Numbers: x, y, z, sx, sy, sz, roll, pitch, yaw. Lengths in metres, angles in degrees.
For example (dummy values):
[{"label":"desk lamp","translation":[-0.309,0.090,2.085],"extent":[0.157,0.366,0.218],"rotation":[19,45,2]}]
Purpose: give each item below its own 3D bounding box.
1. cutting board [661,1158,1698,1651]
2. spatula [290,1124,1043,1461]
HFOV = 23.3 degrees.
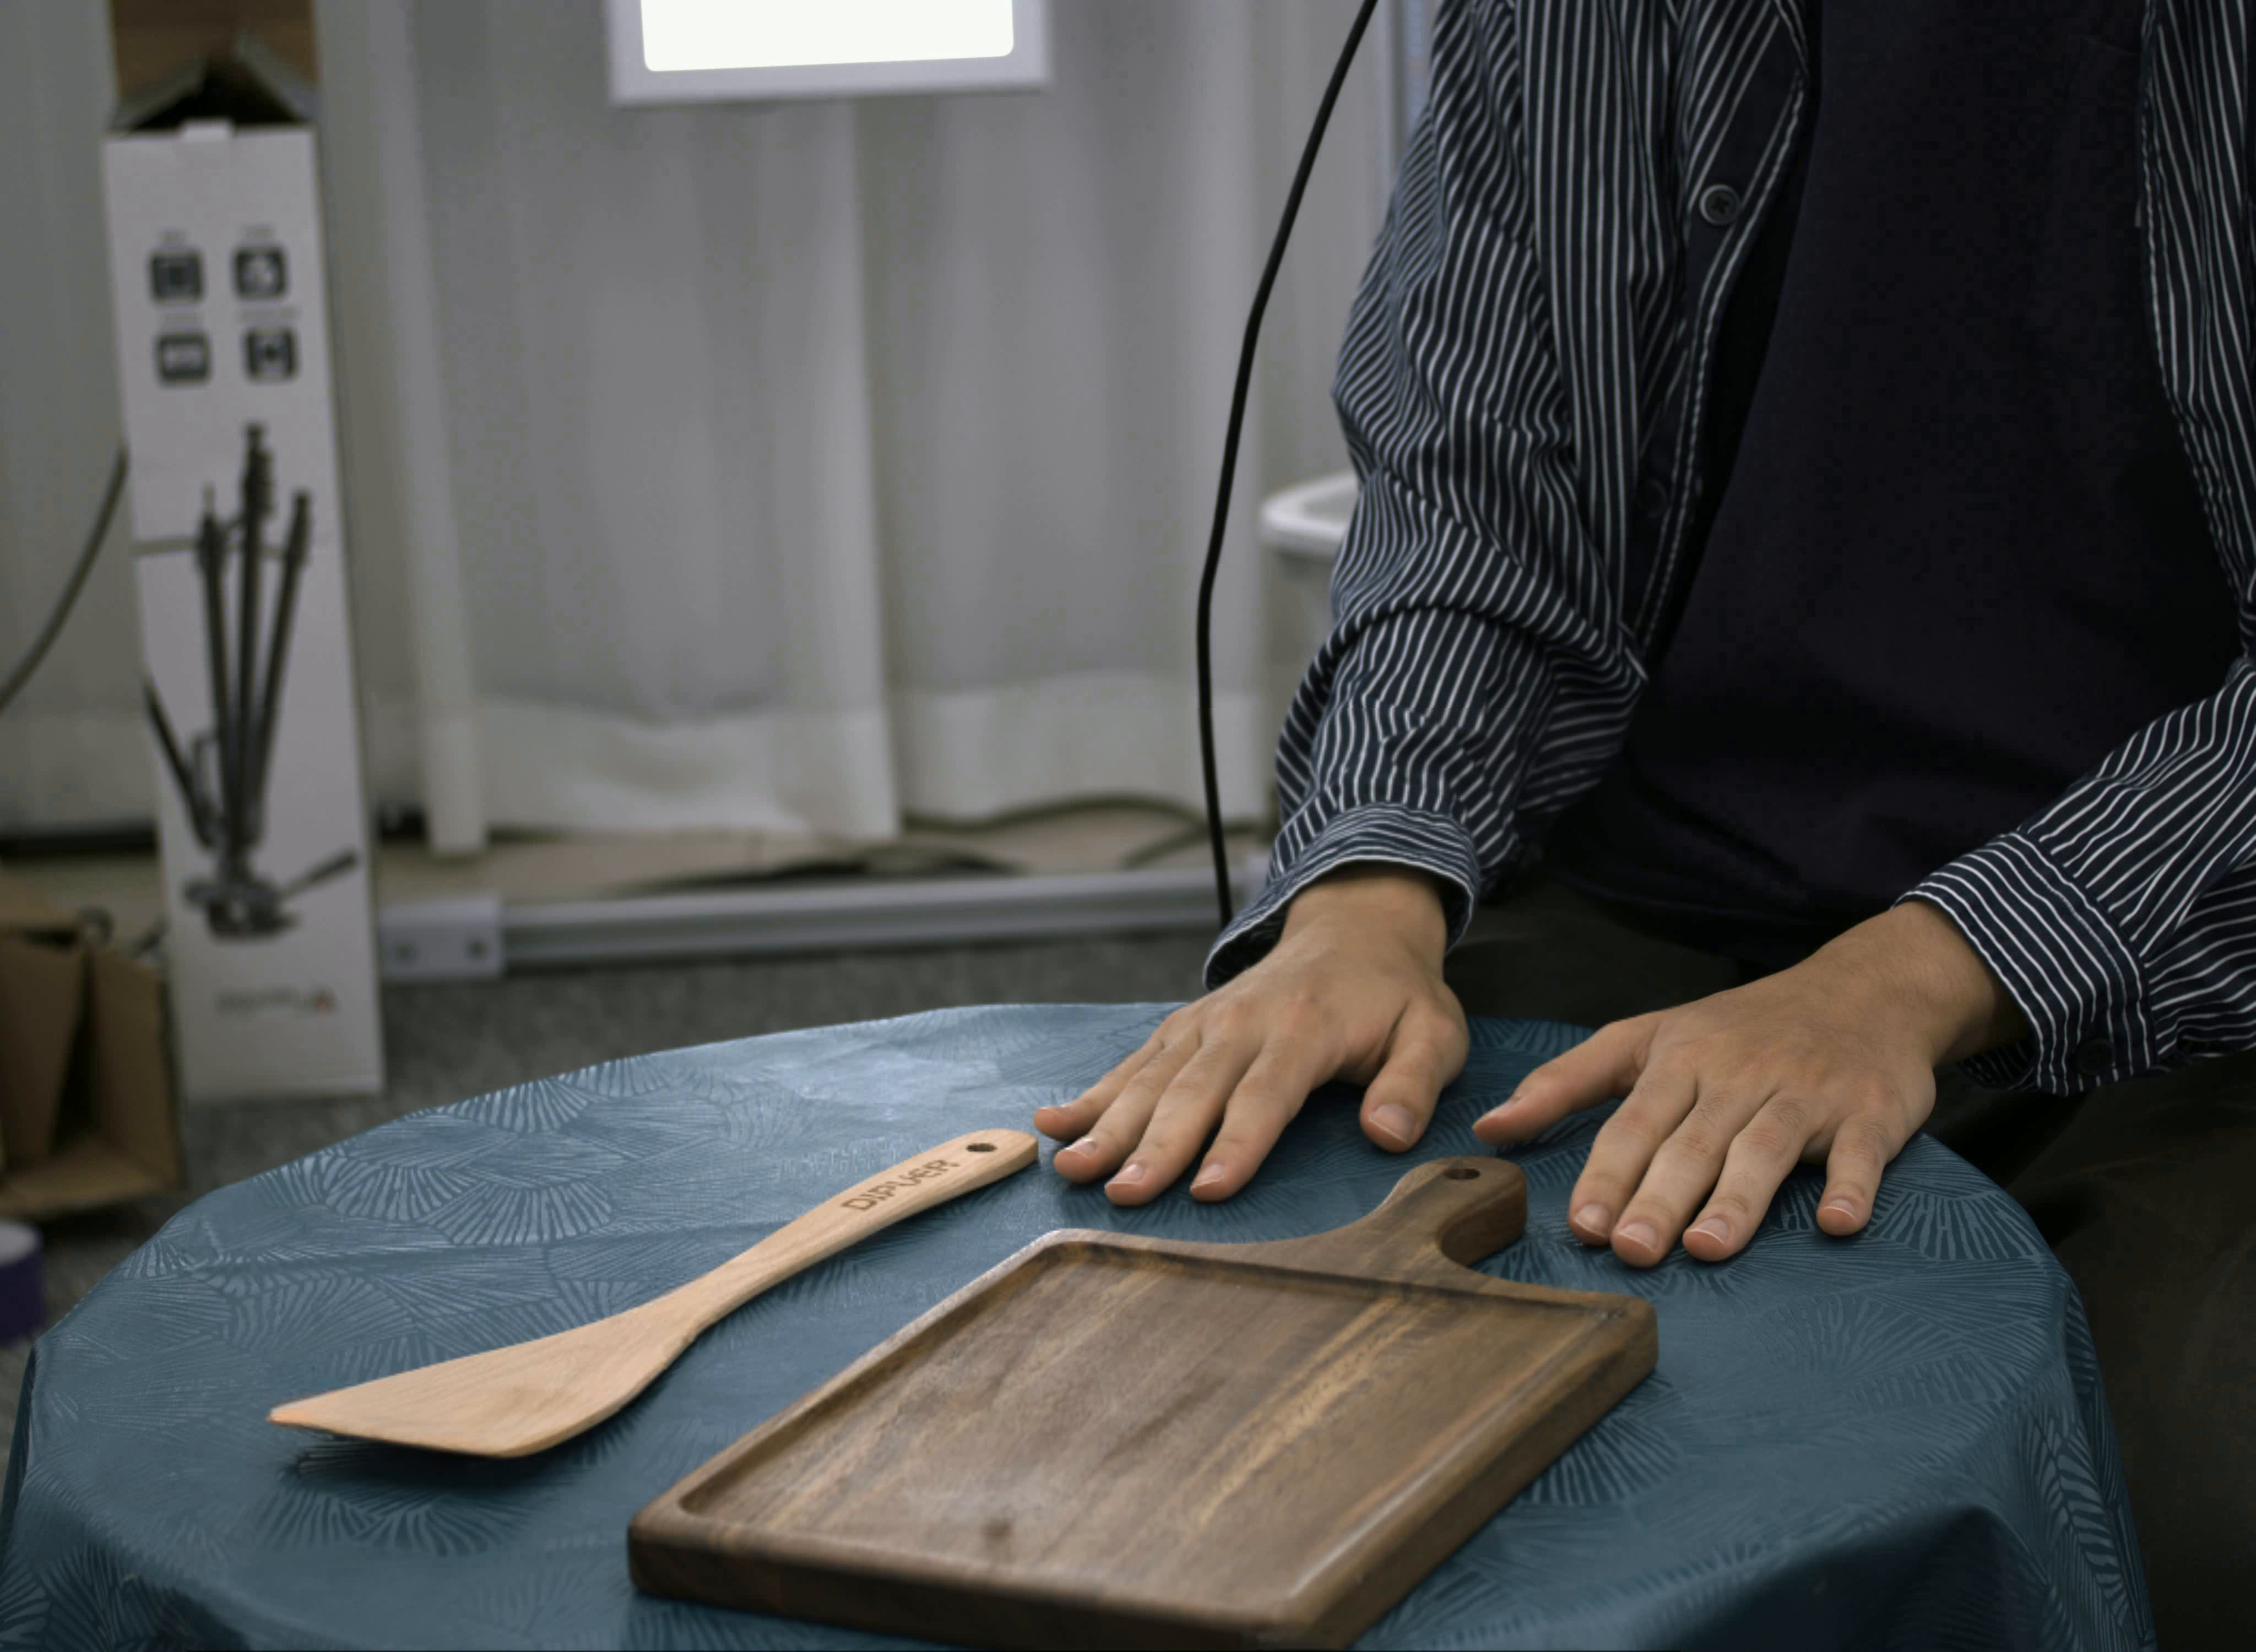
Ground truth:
[{"label":"cutting board","translation":[0.042,0.155,1.515],"extent":[0.201,0.023,0.353],"rotation":[5,17,27]},{"label":"spatula","translation":[-0.118,0.135,1.631],"extent":[0.080,0.016,0.328],"rotation":[7,18,31]}]
